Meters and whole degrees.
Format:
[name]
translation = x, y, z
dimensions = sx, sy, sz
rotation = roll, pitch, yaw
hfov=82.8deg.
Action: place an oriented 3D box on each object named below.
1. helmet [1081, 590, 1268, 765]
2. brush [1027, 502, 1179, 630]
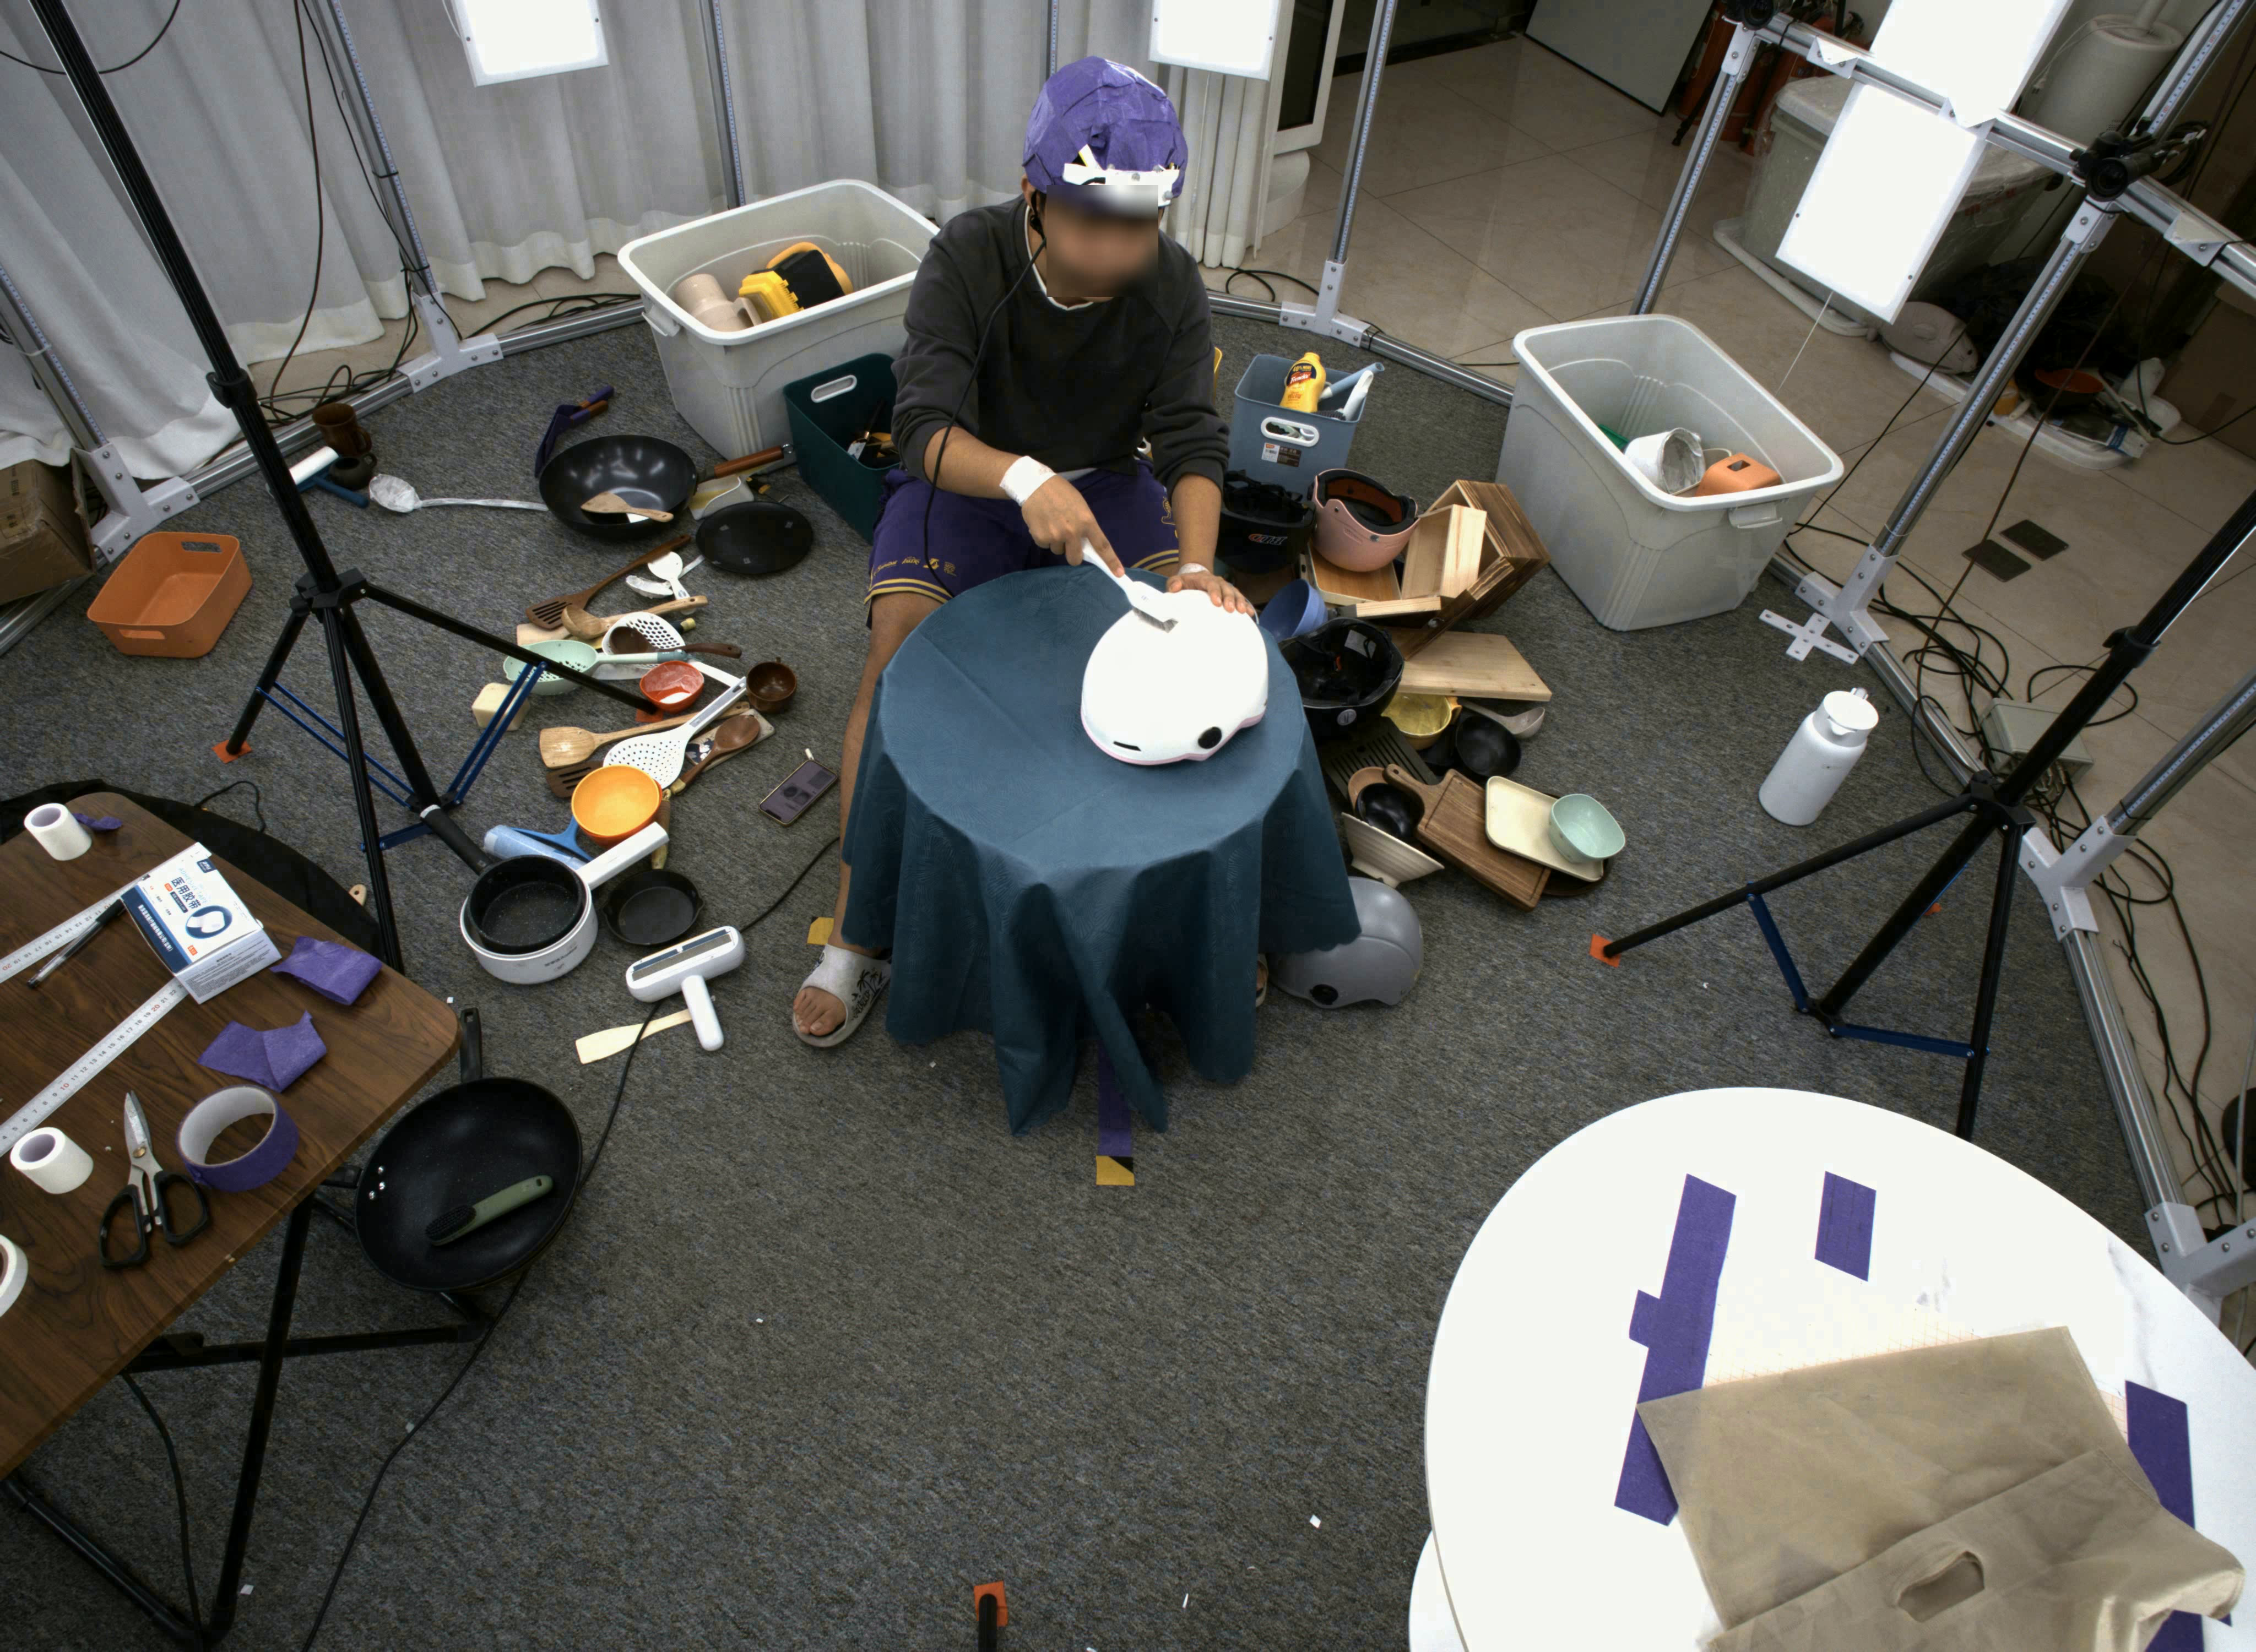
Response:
[helmet]
translation = 0.068, -0.219, 1.756
dimensions = 0.270, 0.163, 0.242
rotation = -25, 55, -23
[brush]
translation = -0.035, -0.342, 1.696
dimensions = 0.244, 0.049, 0.035
rotation = 37, 71, 6
